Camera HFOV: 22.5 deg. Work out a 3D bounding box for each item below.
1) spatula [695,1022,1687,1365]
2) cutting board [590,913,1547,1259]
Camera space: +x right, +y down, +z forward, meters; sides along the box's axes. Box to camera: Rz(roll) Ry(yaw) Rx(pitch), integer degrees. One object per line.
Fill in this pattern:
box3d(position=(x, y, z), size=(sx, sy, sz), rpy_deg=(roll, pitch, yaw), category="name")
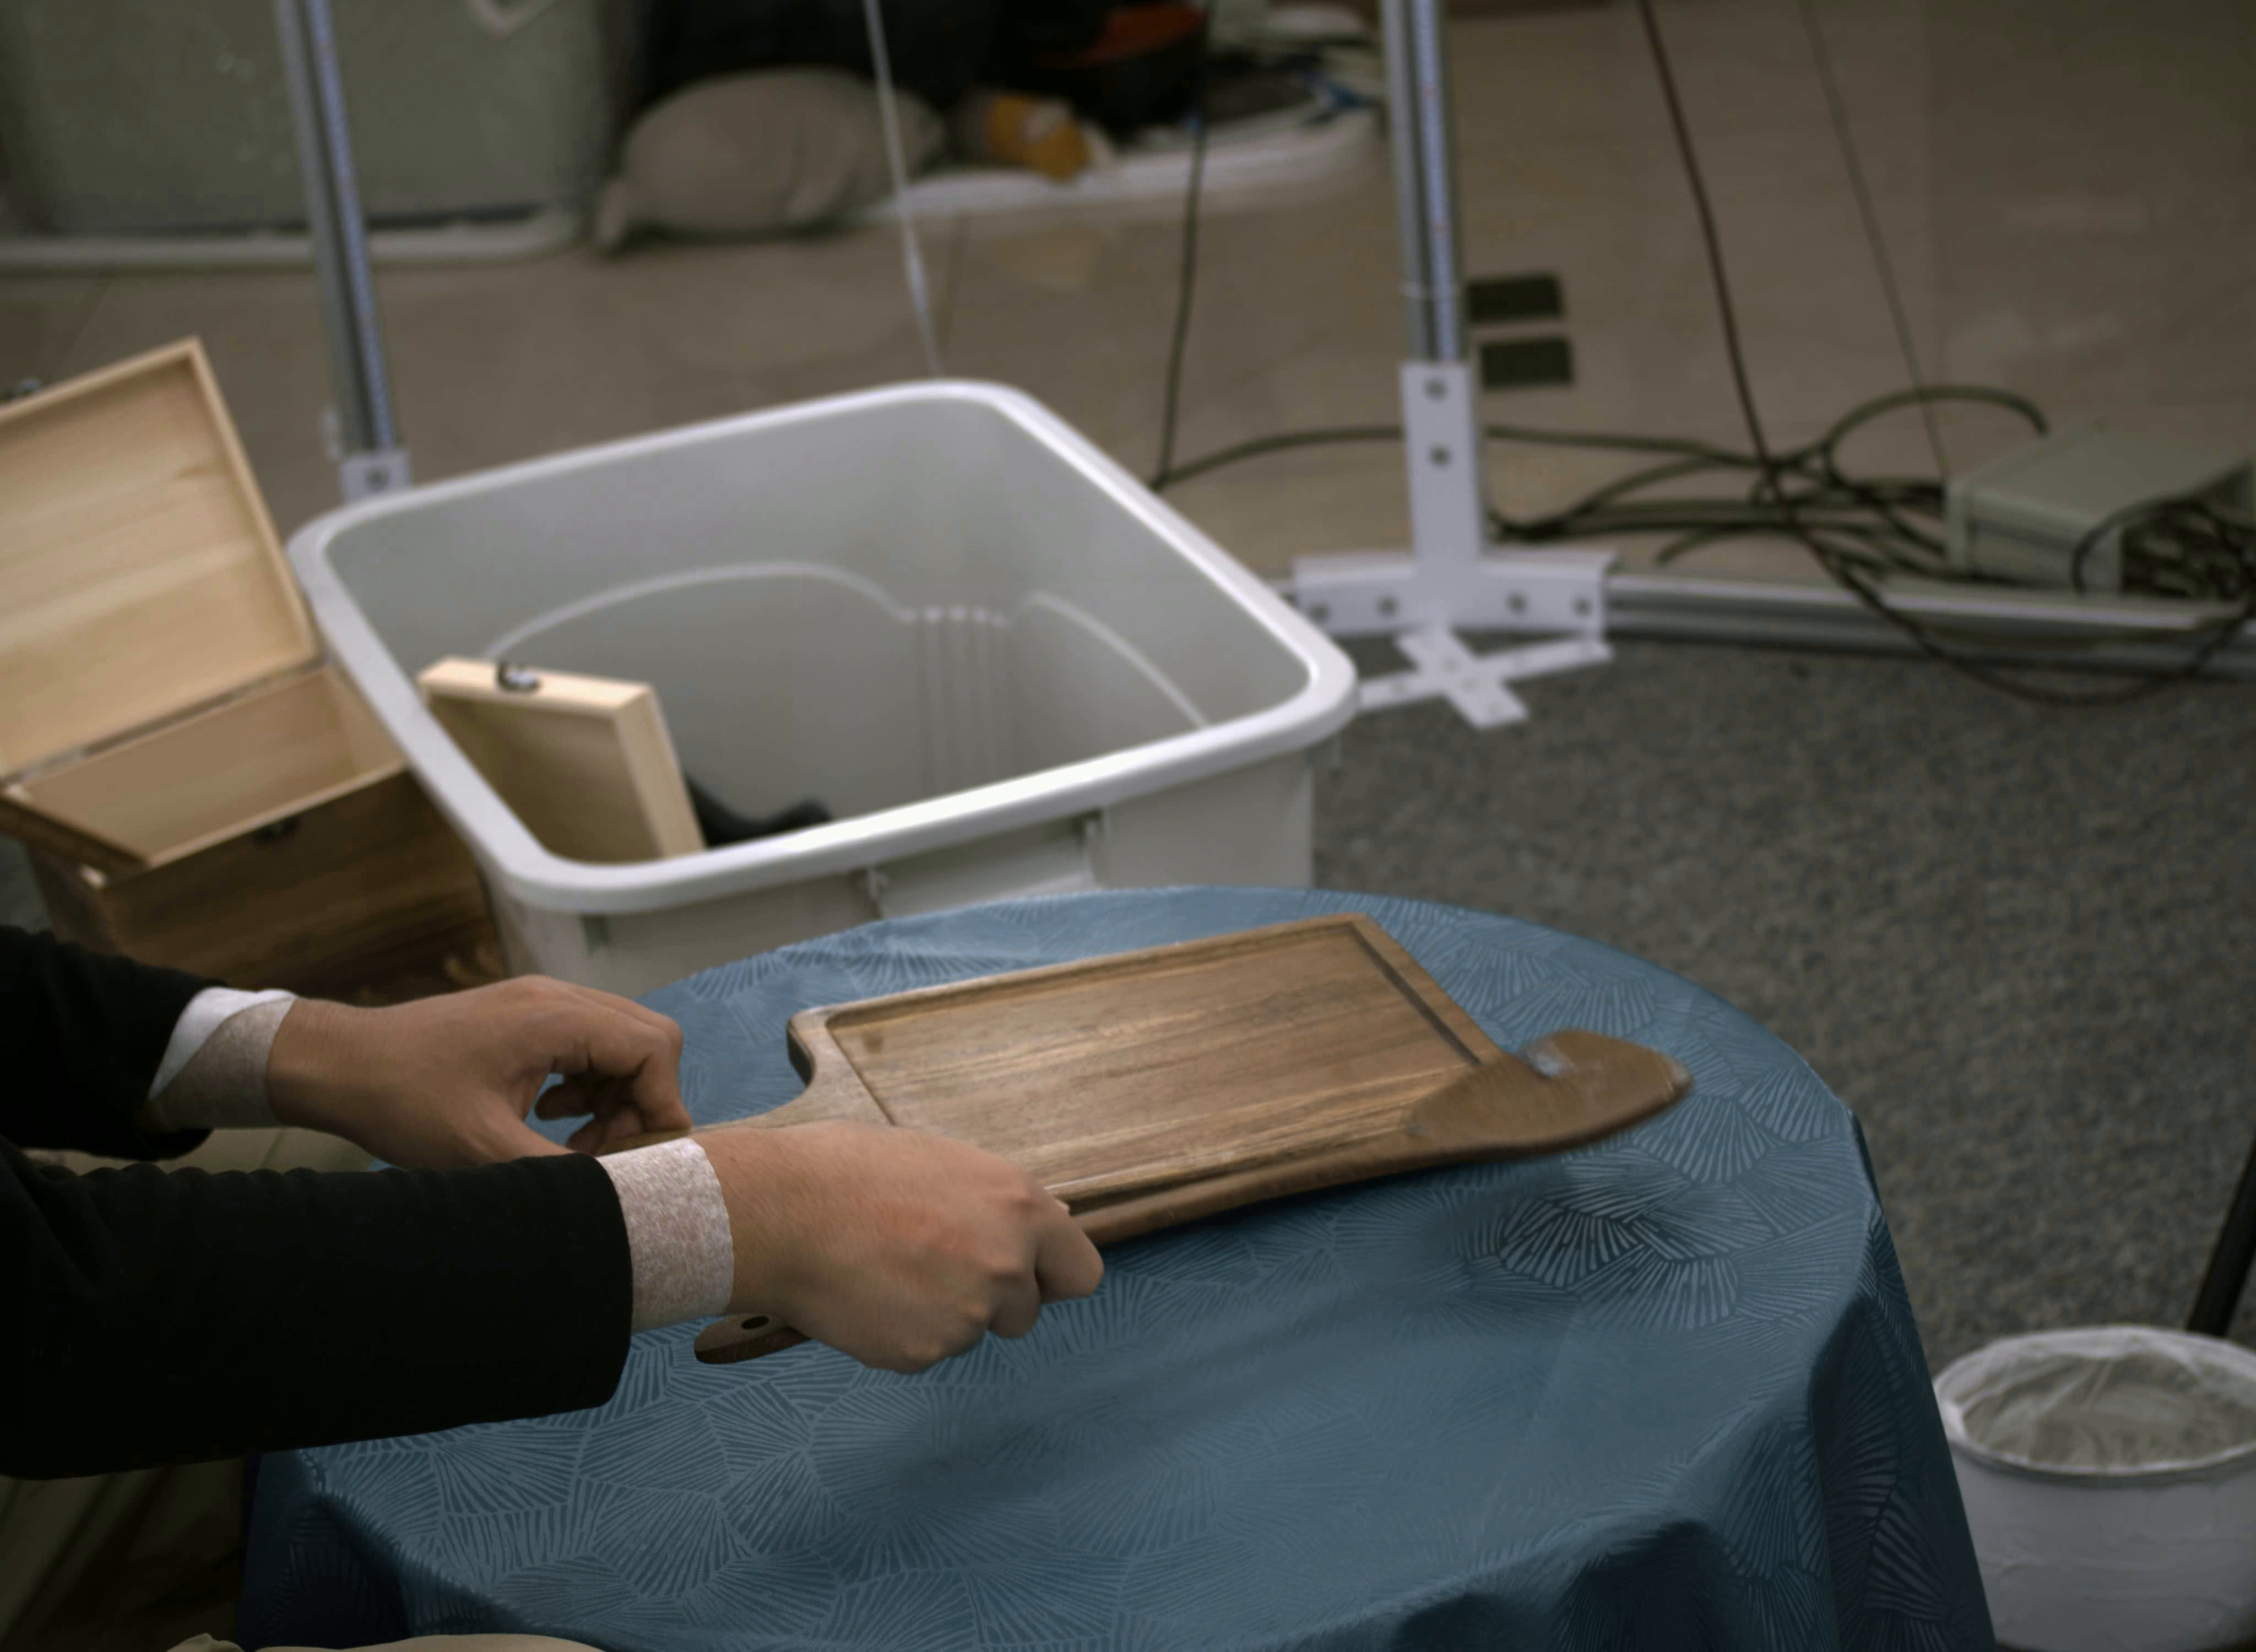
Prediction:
box3d(position=(0.022, 0.130, 2.012), size=(0.384, 0.016, 0.095), rpy_deg=(-16, 17, -23), category="spatula")
box3d(position=(-0.036, 0.105, 2.178), size=(0.351, 0.023, 0.198), rpy_deg=(-10, 25, -17), category="cutting board")
